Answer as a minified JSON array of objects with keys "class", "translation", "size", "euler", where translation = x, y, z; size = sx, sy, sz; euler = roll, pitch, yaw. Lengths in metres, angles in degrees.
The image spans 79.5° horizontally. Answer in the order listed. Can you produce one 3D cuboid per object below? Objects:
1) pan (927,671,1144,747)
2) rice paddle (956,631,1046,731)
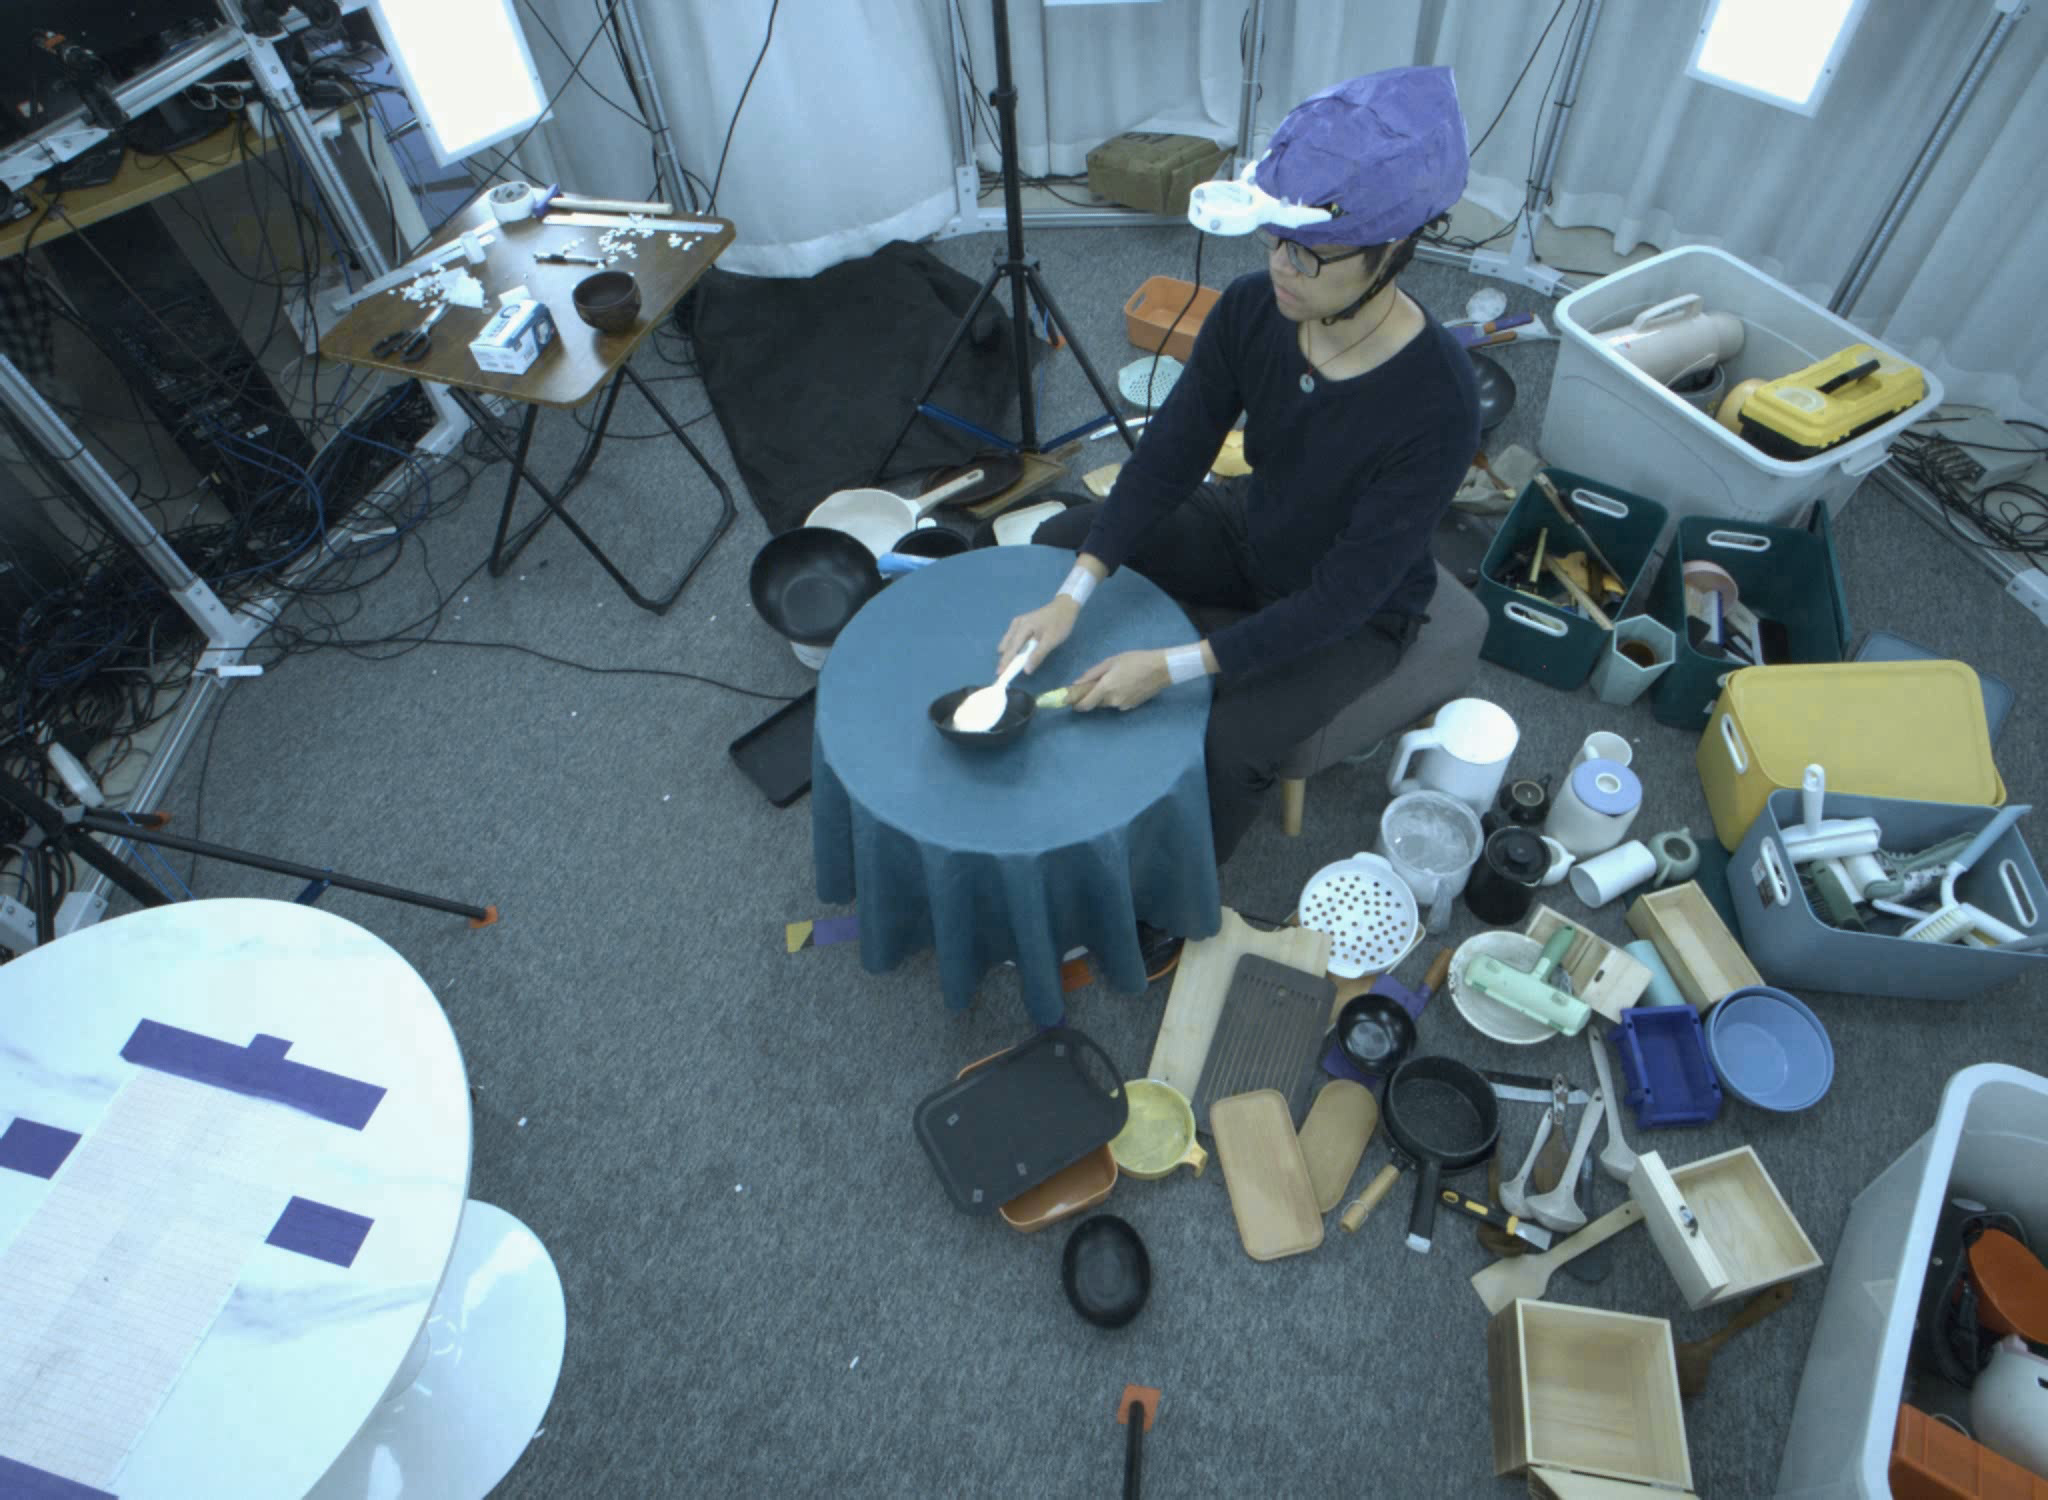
[{"class":"pan","translation":[0.021,-0.067,1.786],"size":[0.327,0.050,0.166],"euler":[-10,29,-12]},{"class":"rice paddle","translation":[-0.032,-0.096,1.795],"size":[0.067,0.030,0.206],"euler":[19,57,27]}]
